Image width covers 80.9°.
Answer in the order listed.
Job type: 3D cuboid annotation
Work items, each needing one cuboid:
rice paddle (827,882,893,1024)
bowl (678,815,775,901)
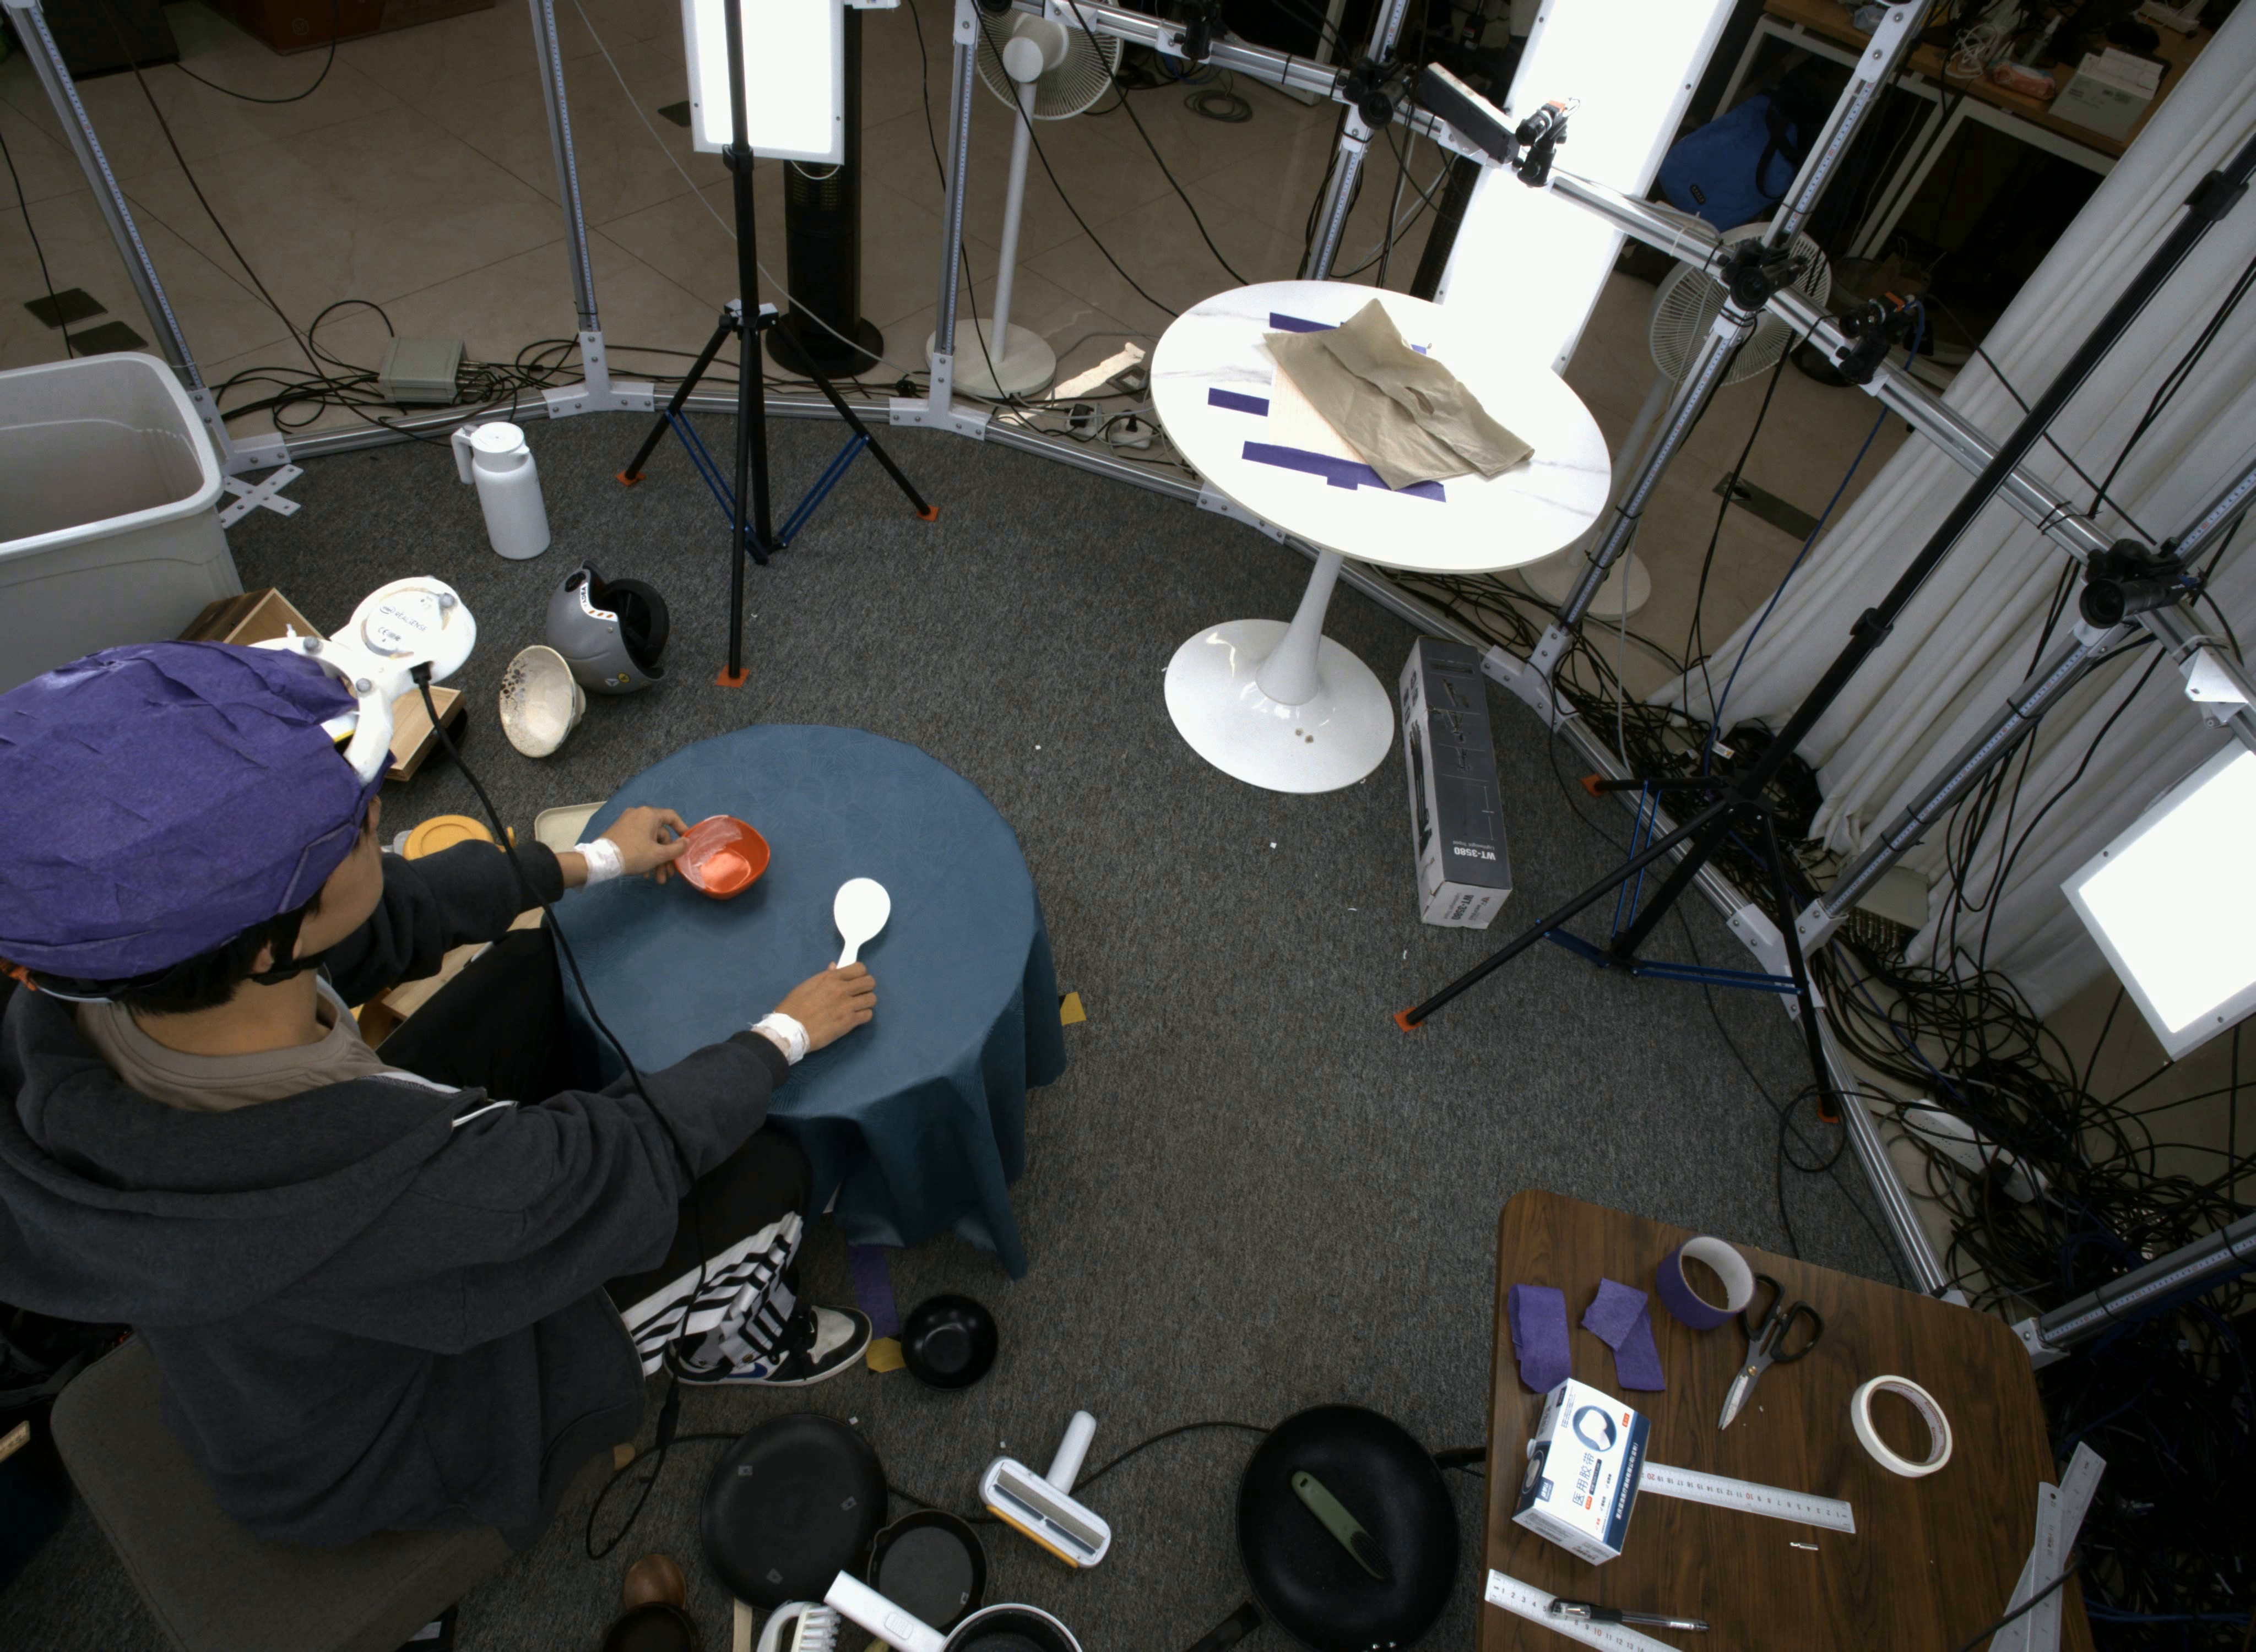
[{"bbox_3d":[-0.337,0.147,1.610,0.069,0.030,0.202,16,50,-13],"label":"rice paddle"},{"bbox_3d":[-0.507,0.047,1.637,0.119,0.052,0.117,8,52,-9],"label":"bowl"}]
